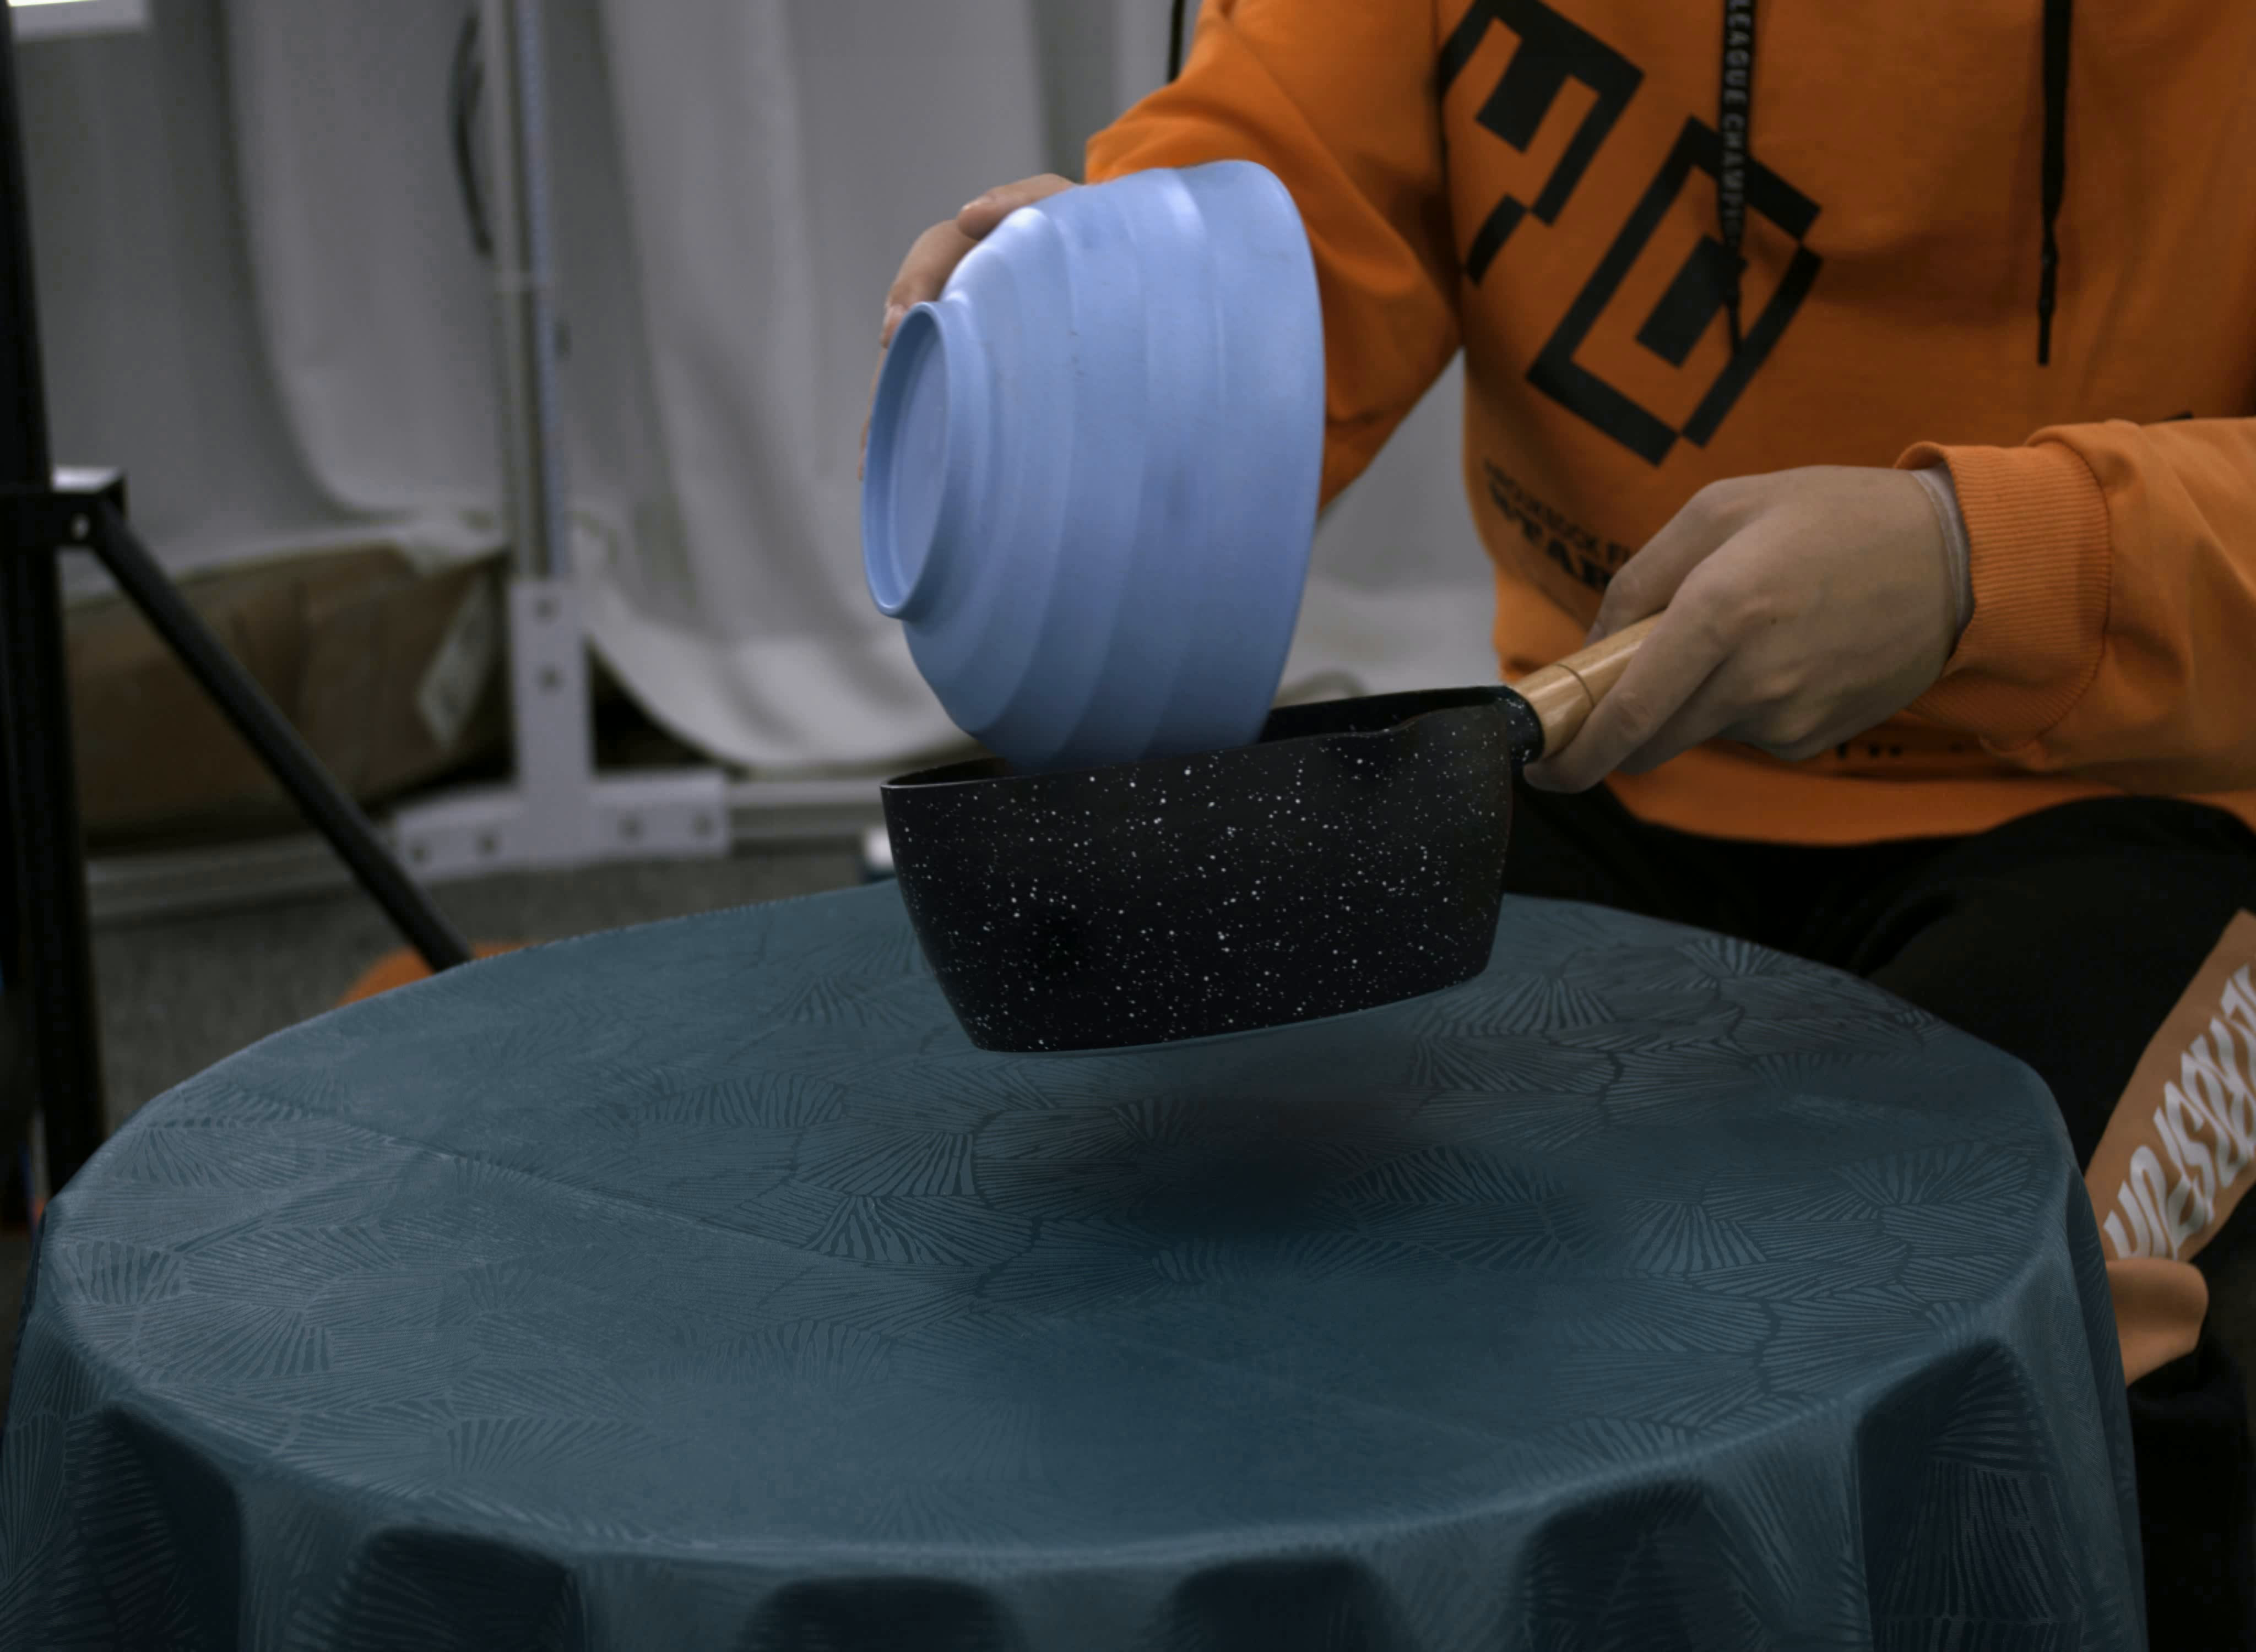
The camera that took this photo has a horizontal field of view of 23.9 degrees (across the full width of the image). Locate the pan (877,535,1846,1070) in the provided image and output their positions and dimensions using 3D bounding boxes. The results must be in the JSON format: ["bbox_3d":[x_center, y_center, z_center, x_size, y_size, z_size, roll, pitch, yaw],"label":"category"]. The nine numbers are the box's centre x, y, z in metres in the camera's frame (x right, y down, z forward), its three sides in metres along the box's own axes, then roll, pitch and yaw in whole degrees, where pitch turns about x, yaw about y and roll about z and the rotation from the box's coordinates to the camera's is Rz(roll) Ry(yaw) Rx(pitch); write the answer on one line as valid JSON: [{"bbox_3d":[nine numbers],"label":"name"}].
[{"bbox_3d":[0.087,-0.009,1.597,0.335,0.108,0.211,-12,4,-32],"label":"pan"}]

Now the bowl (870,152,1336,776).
[{"bbox_3d":[-0.018,-0.102,1.547,0.094,0.197,0.199,5,13,-17],"label":"bowl"}]
